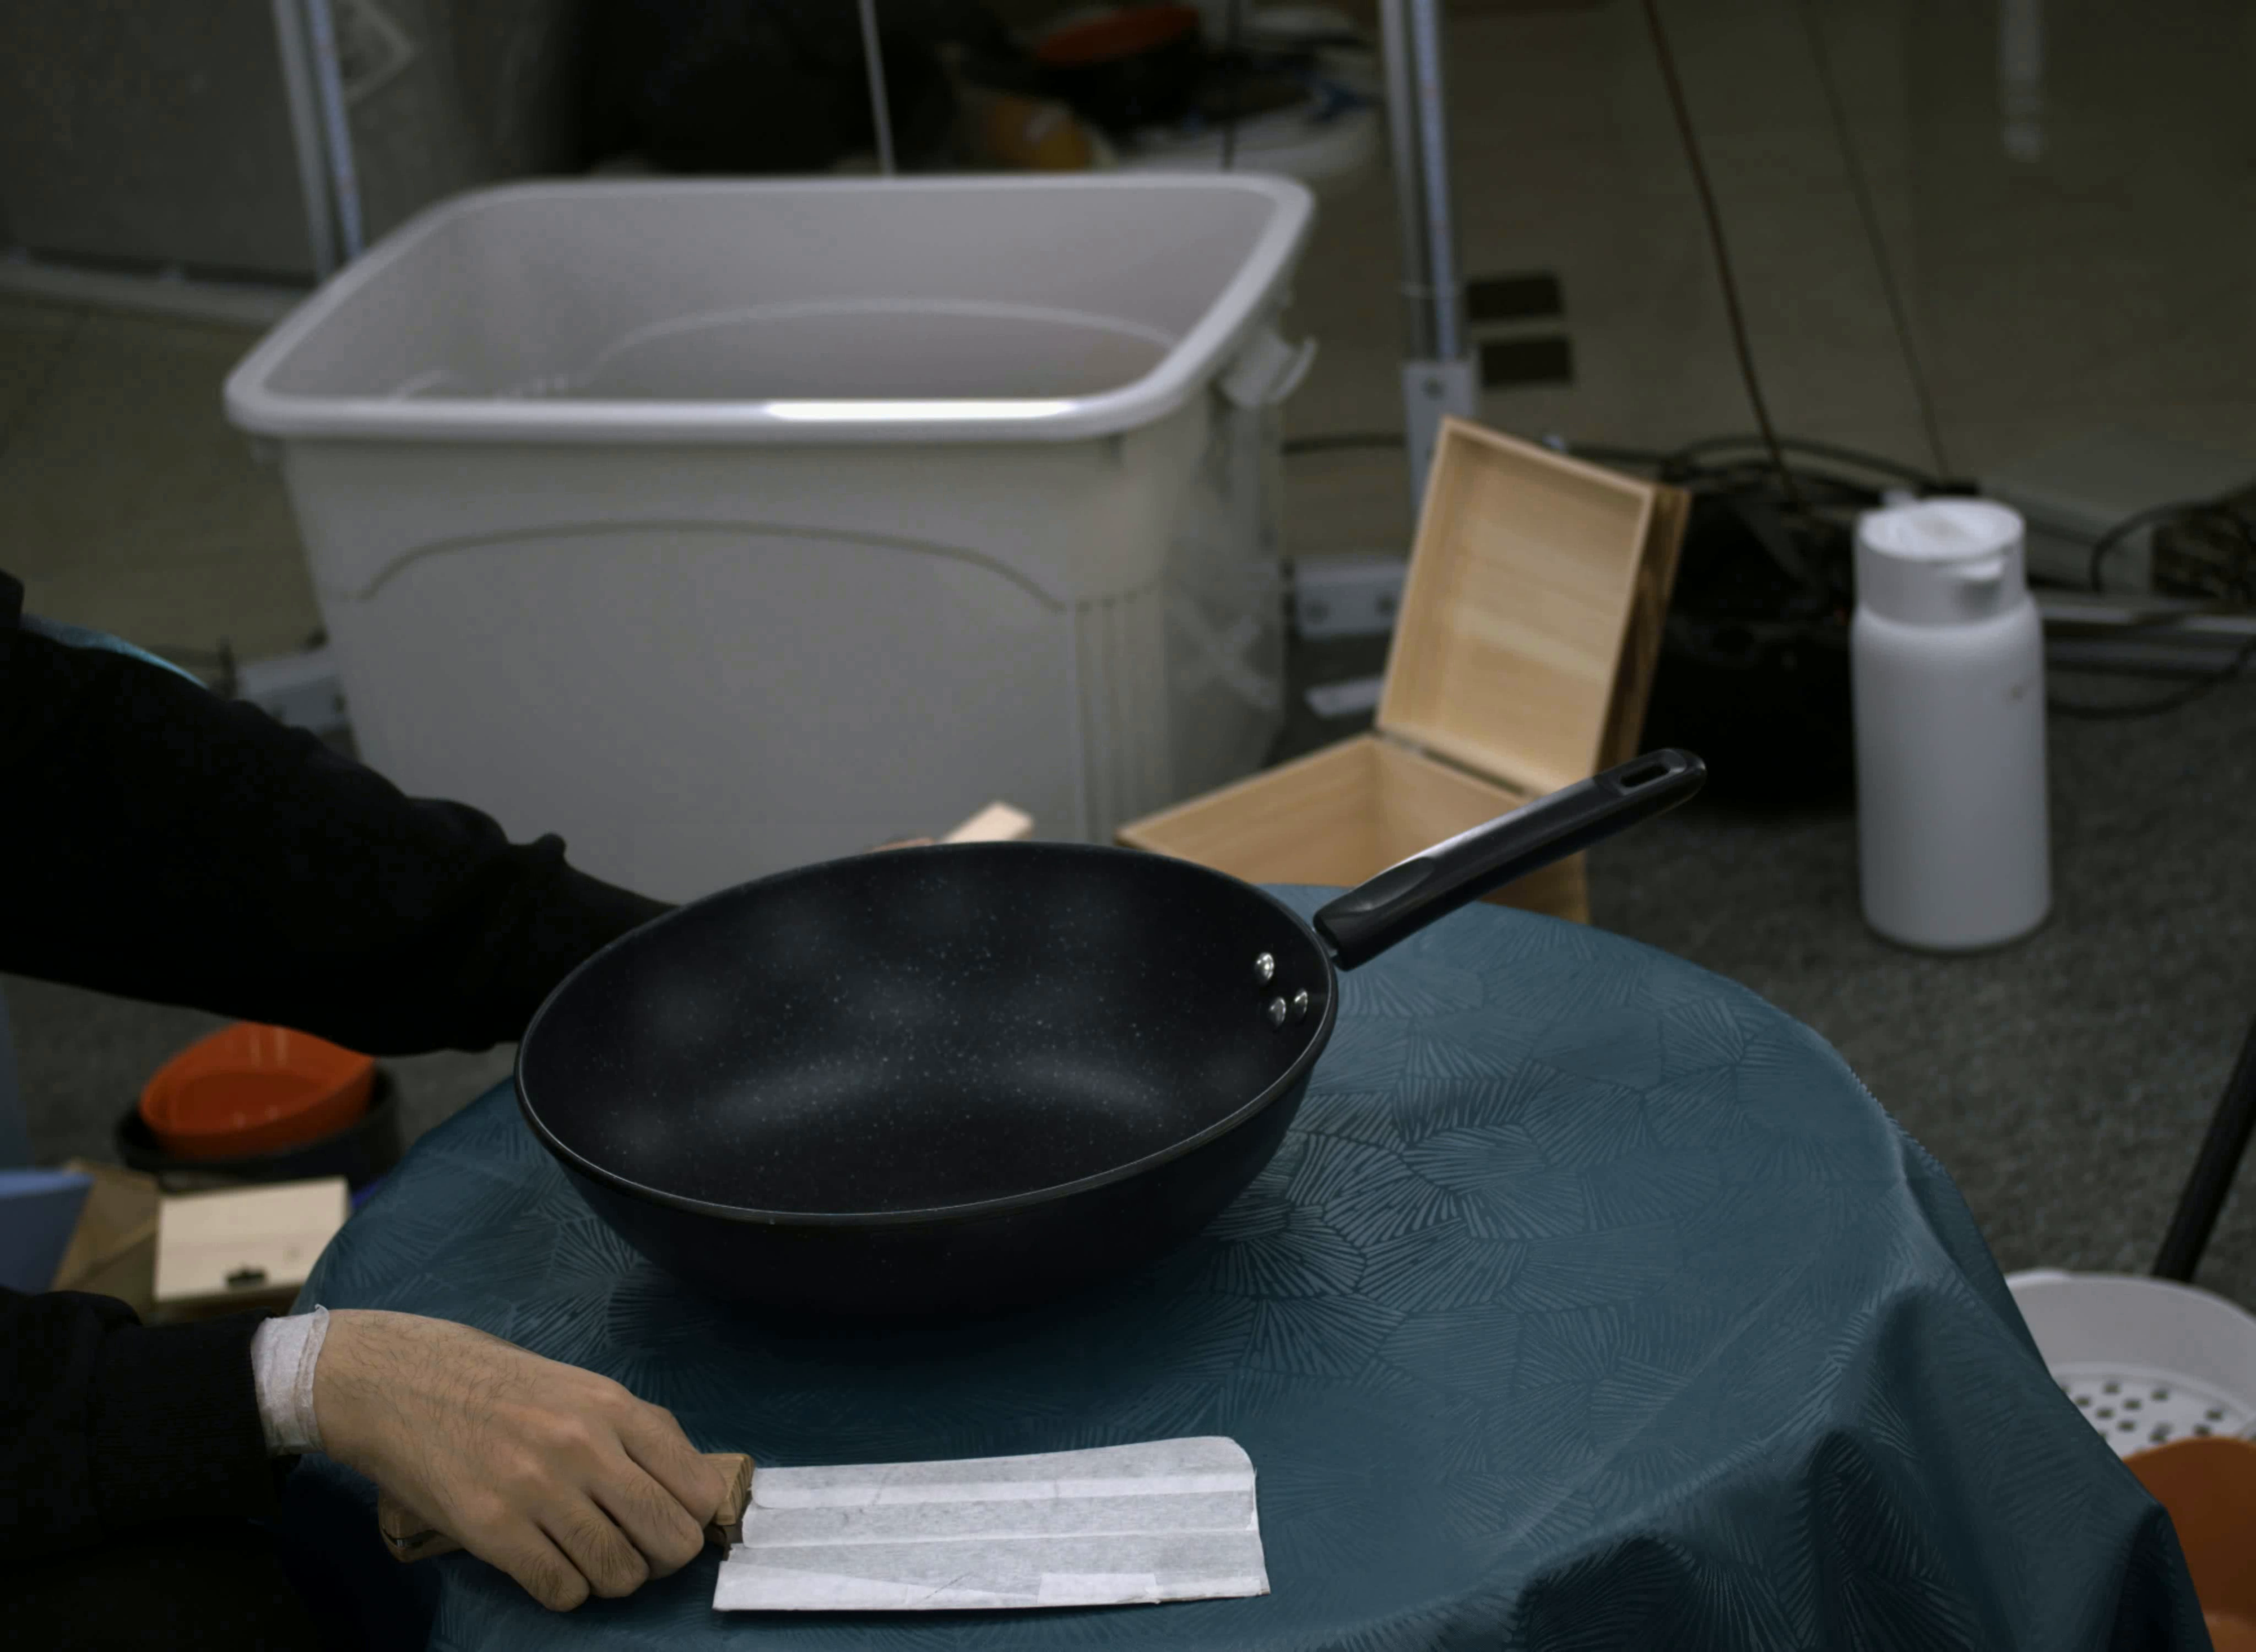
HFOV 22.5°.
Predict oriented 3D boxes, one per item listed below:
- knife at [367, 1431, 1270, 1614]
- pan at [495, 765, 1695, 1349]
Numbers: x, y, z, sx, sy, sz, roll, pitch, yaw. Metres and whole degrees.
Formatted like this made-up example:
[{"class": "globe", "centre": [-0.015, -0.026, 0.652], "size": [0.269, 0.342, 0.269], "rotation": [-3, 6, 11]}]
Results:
[{"class": "knife", "centre": [-0.106, 0.237, 1.942], "size": [0.315, 0.022, 0.112], "rotation": [-1, 26, 6]}, {"class": "pan", "centre": [-0.001, 0.083, 2.141], "size": [0.475, 0.113, 0.306], "rotation": [-14, 28, -16]}]
